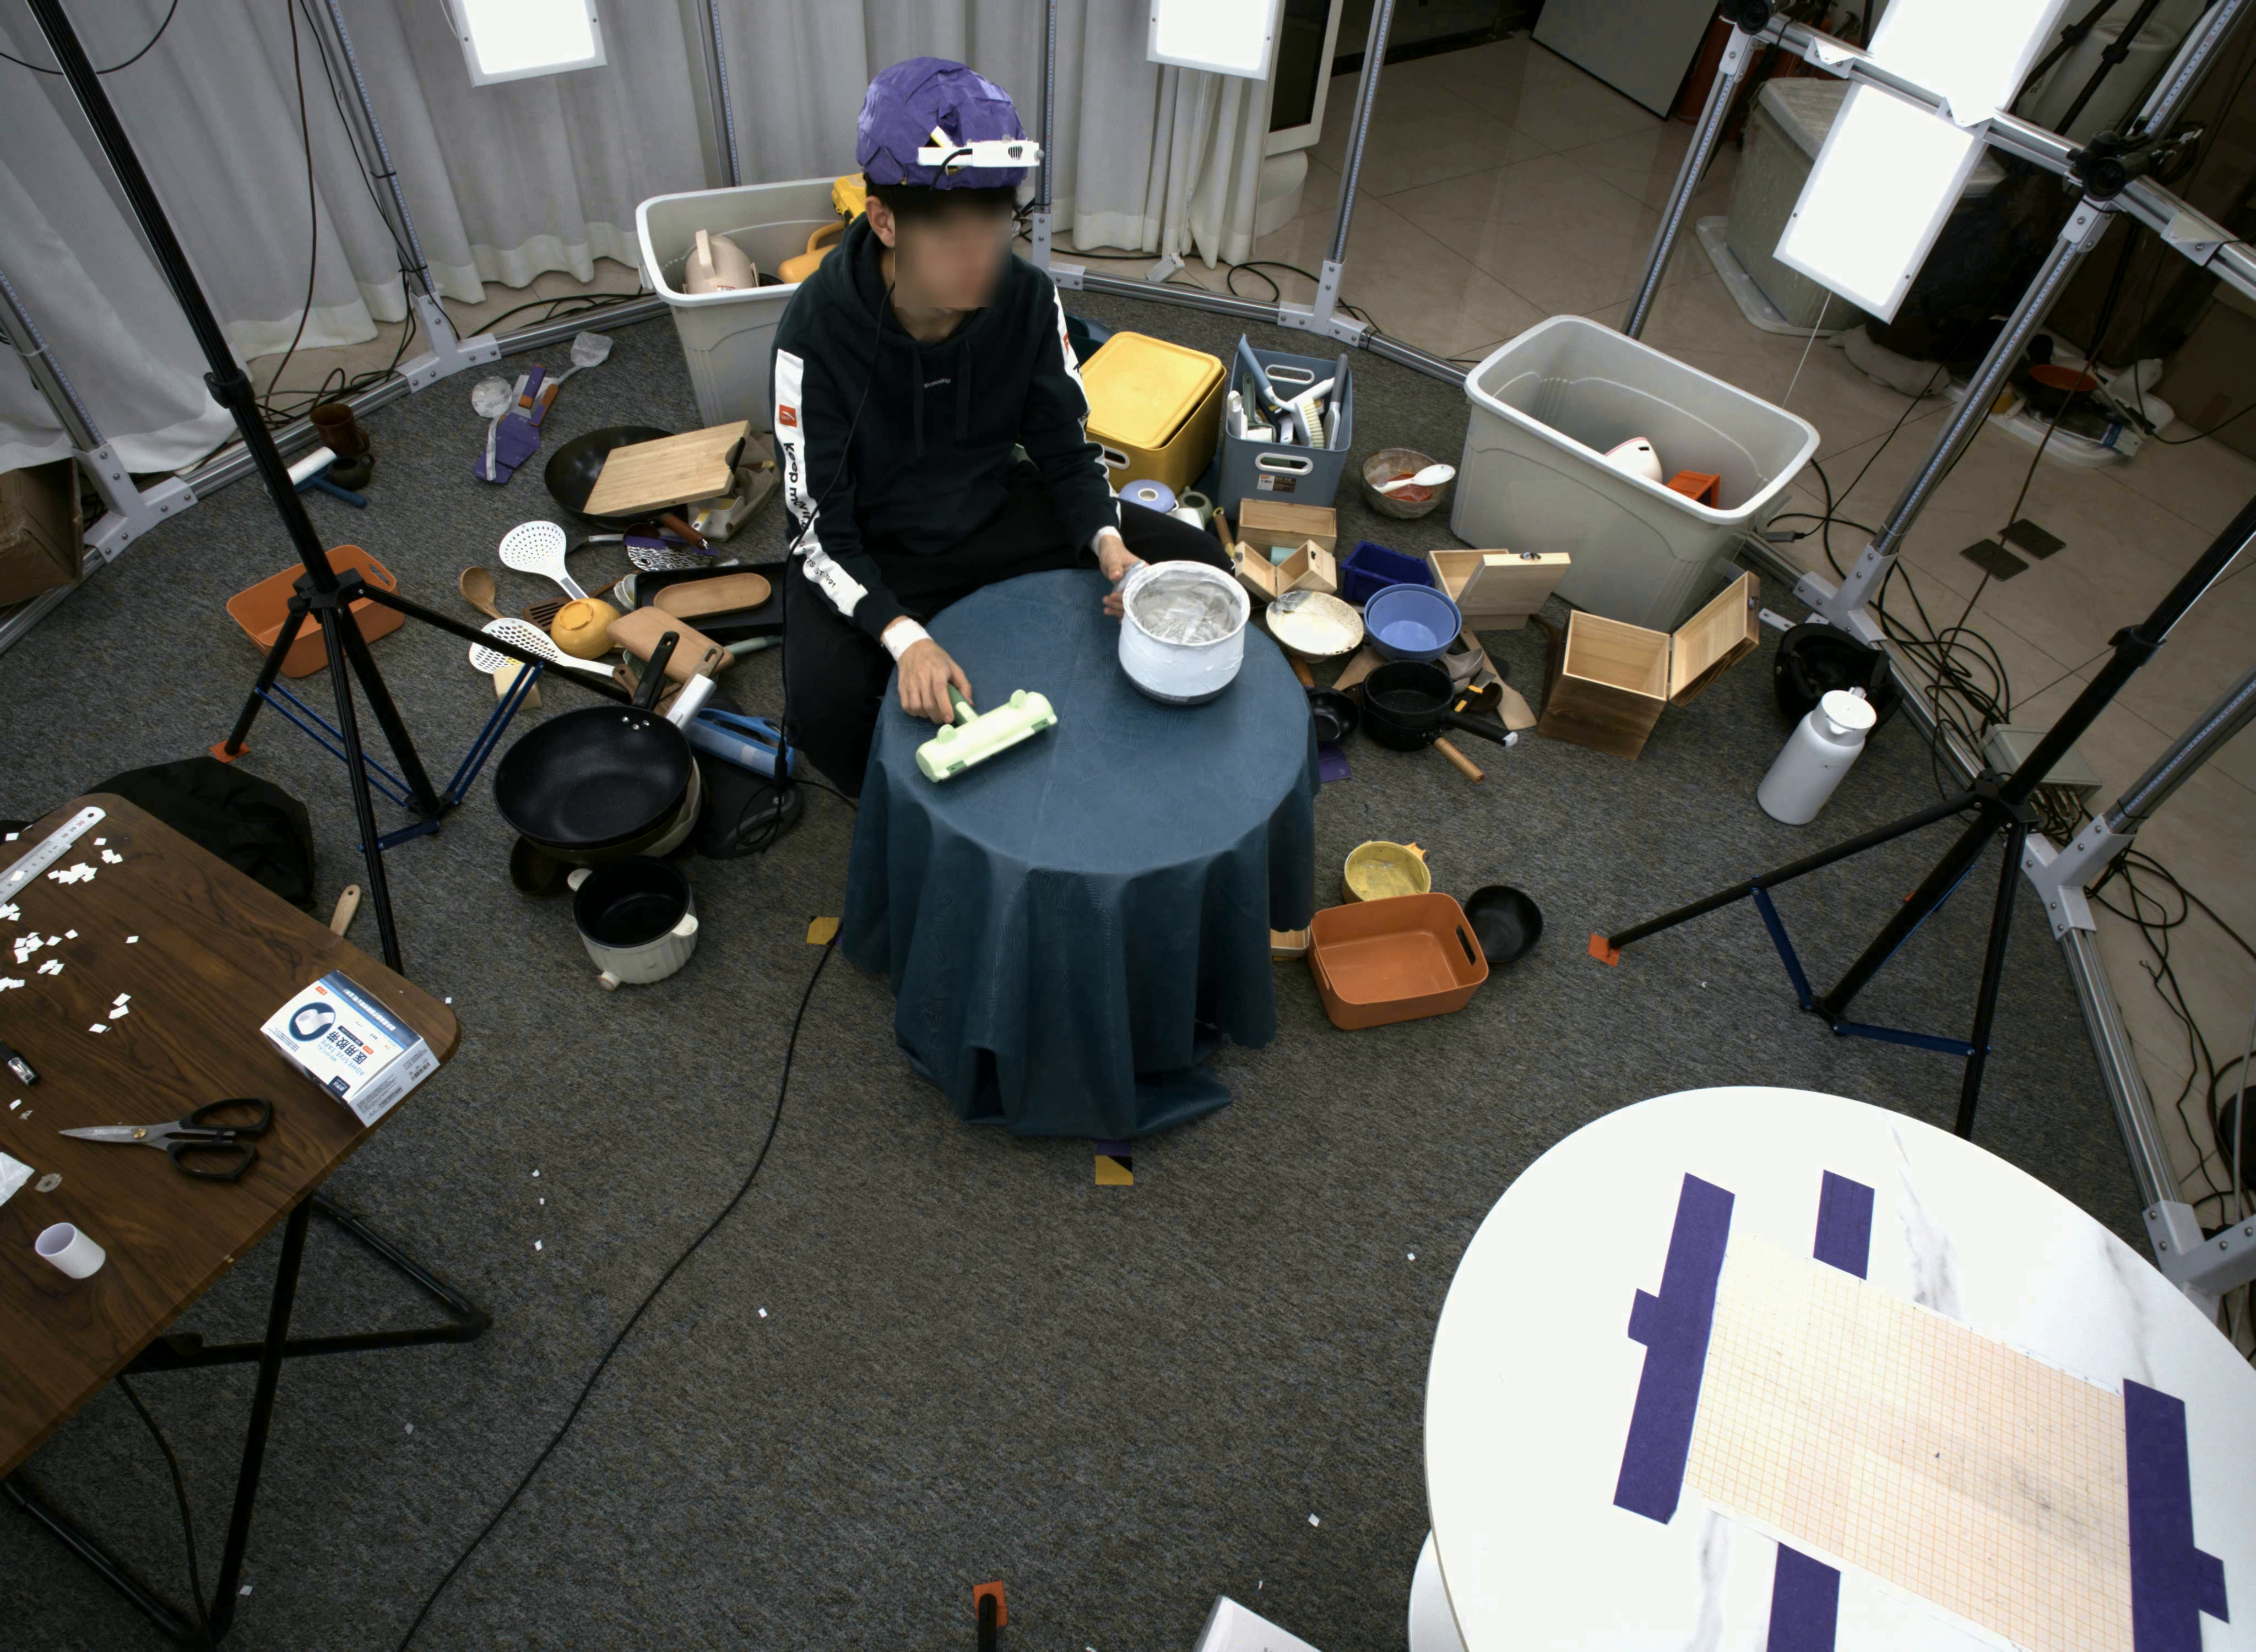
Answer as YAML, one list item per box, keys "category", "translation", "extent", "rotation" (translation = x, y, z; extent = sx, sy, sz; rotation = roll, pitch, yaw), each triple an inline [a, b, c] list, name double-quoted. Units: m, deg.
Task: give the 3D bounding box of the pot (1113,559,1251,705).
- category: "pot"
  translation: [0.061, -0.287, 1.832]
  extent: [0.180, 0.133, 0.238]
  rotation: [-30, 58, -27]

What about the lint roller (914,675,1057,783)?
- category: "lint roller"
  translation: [-0.224, -0.162, 1.746]
  extent: [0.200, 0.080, 0.186]
  rotation: [-29, 62, -25]
